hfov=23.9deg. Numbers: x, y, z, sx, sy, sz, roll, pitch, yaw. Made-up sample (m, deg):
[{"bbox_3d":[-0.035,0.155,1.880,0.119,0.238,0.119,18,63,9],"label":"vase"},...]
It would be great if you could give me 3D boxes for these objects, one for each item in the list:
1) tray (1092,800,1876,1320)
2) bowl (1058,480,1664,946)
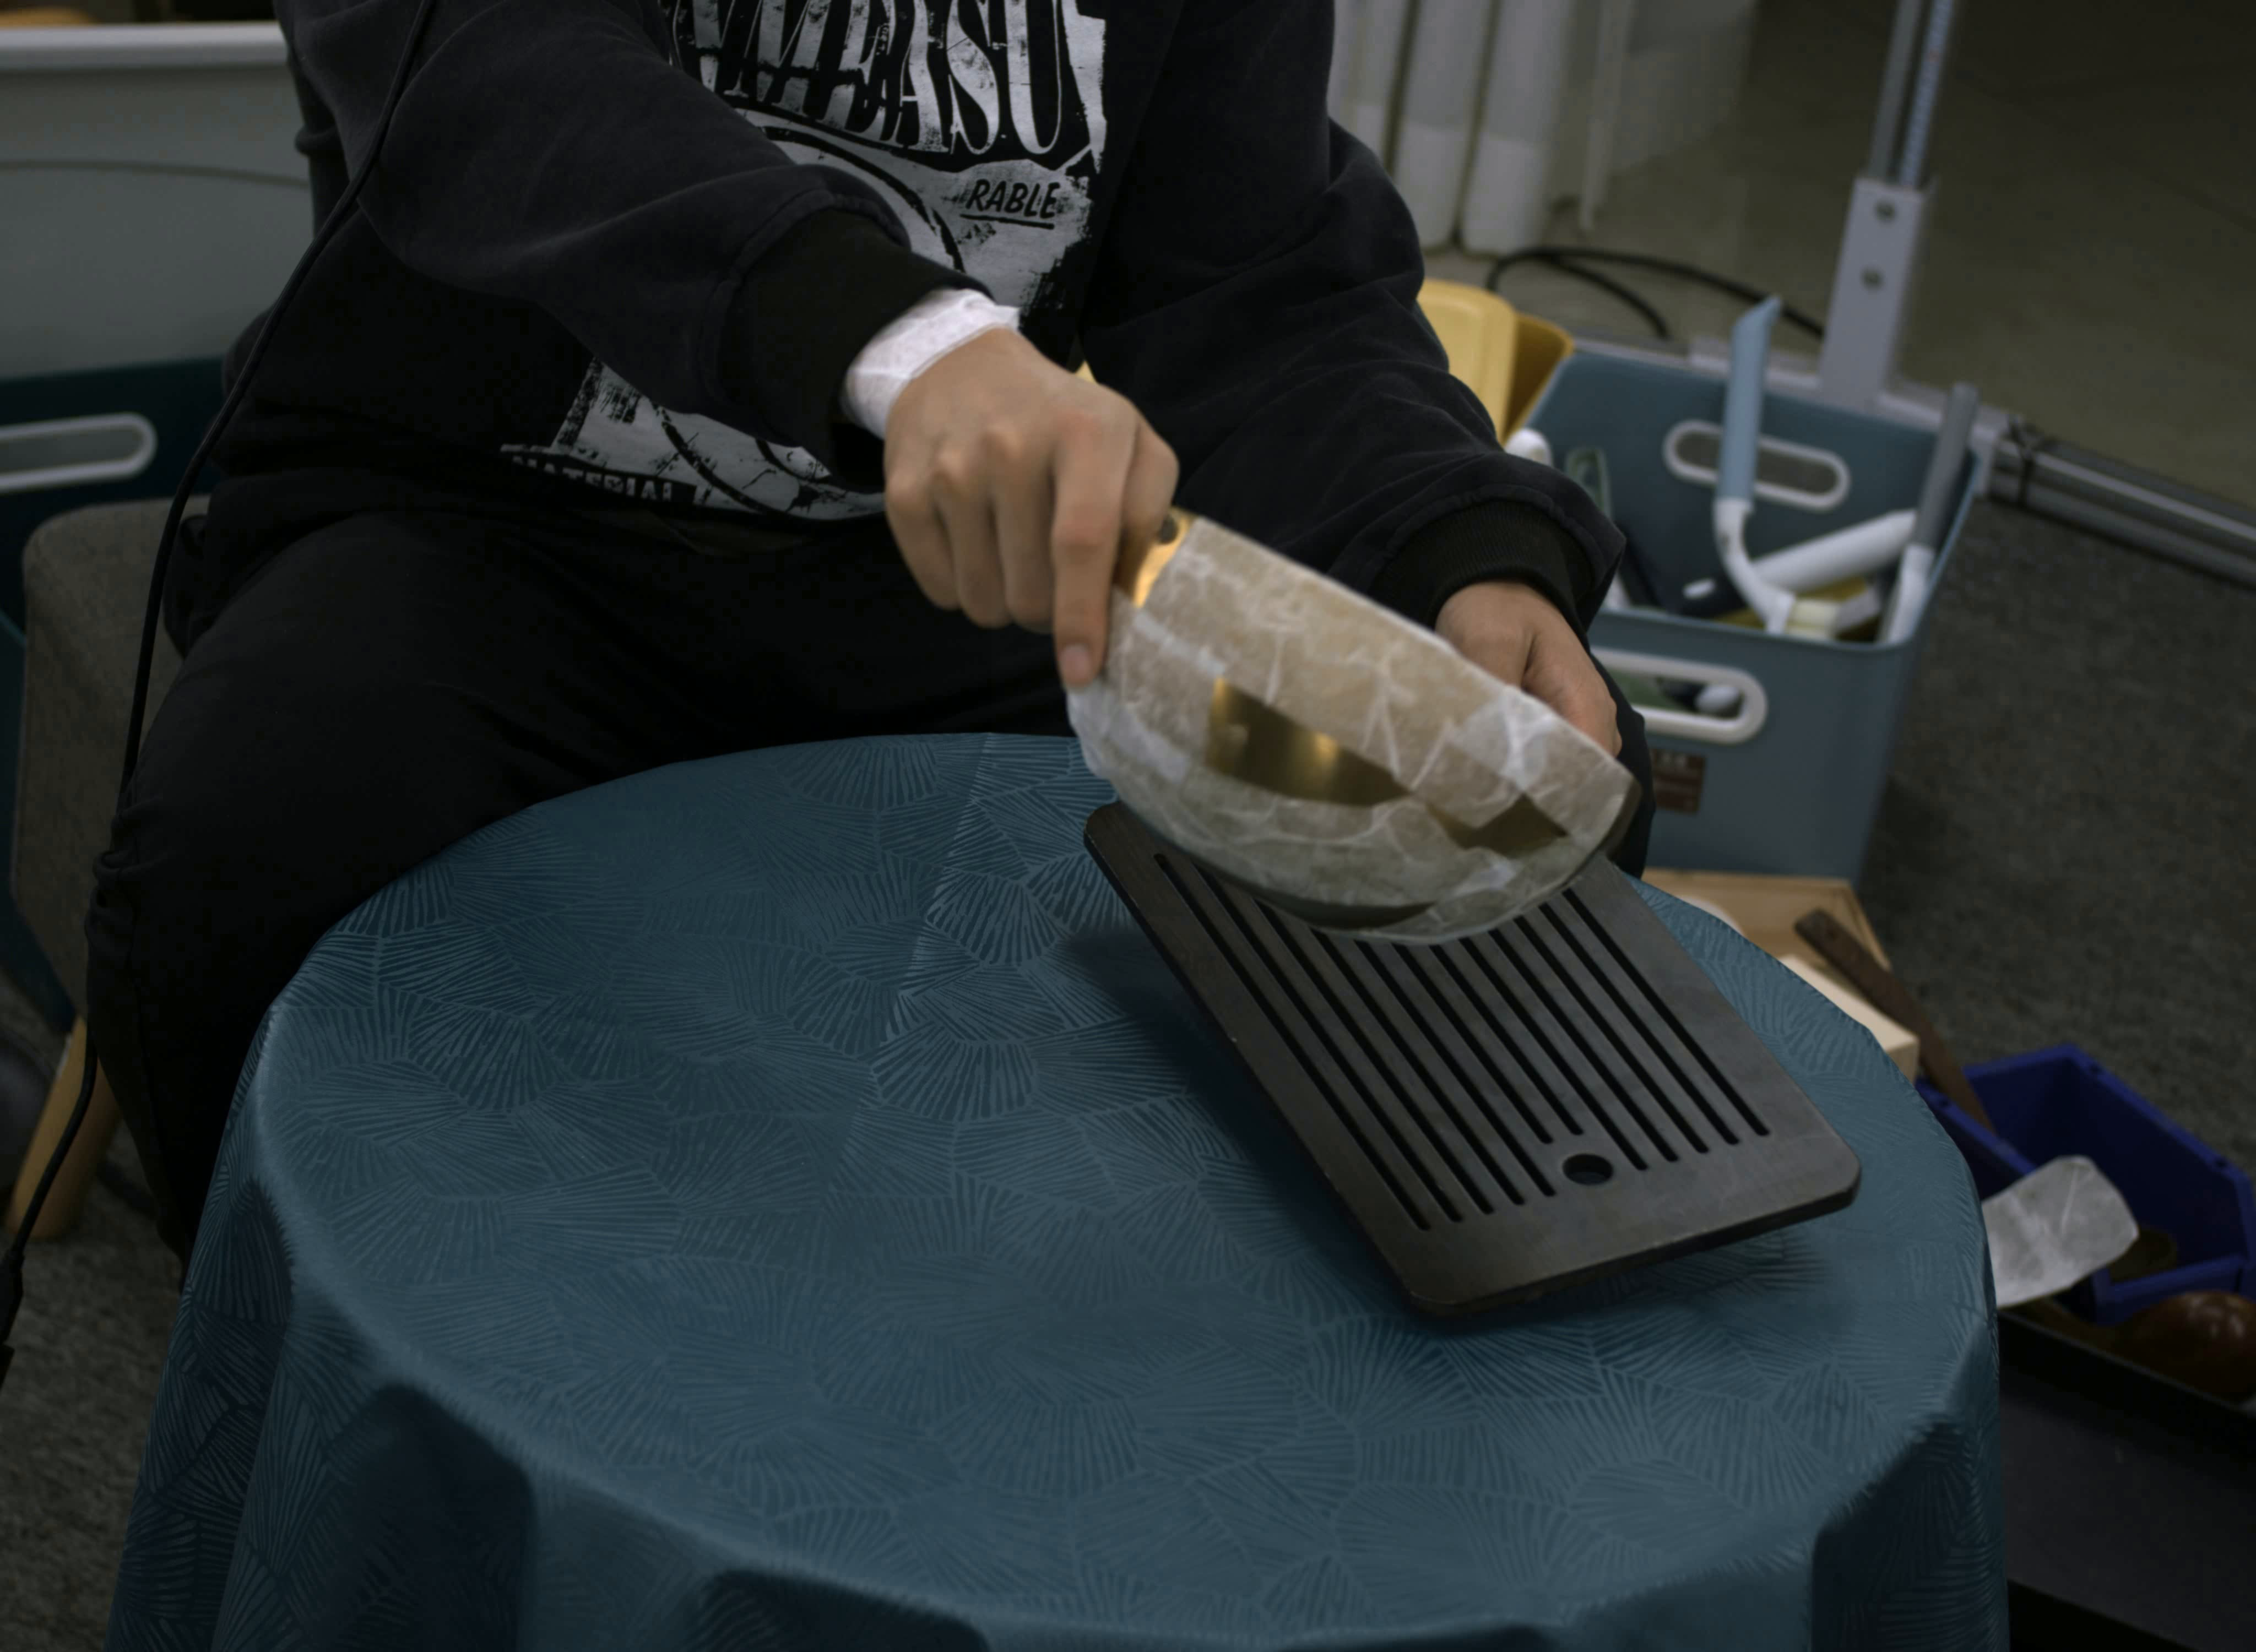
[{"bbox_3d":[0.119,0.064,1.870,0.169,0.018,0.309,-14,37,-18],"label":"tray"},{"bbox_3d":[0.058,-0.020,1.713,0.214,0.095,0.214,28,-2,1],"label":"bowl"}]
